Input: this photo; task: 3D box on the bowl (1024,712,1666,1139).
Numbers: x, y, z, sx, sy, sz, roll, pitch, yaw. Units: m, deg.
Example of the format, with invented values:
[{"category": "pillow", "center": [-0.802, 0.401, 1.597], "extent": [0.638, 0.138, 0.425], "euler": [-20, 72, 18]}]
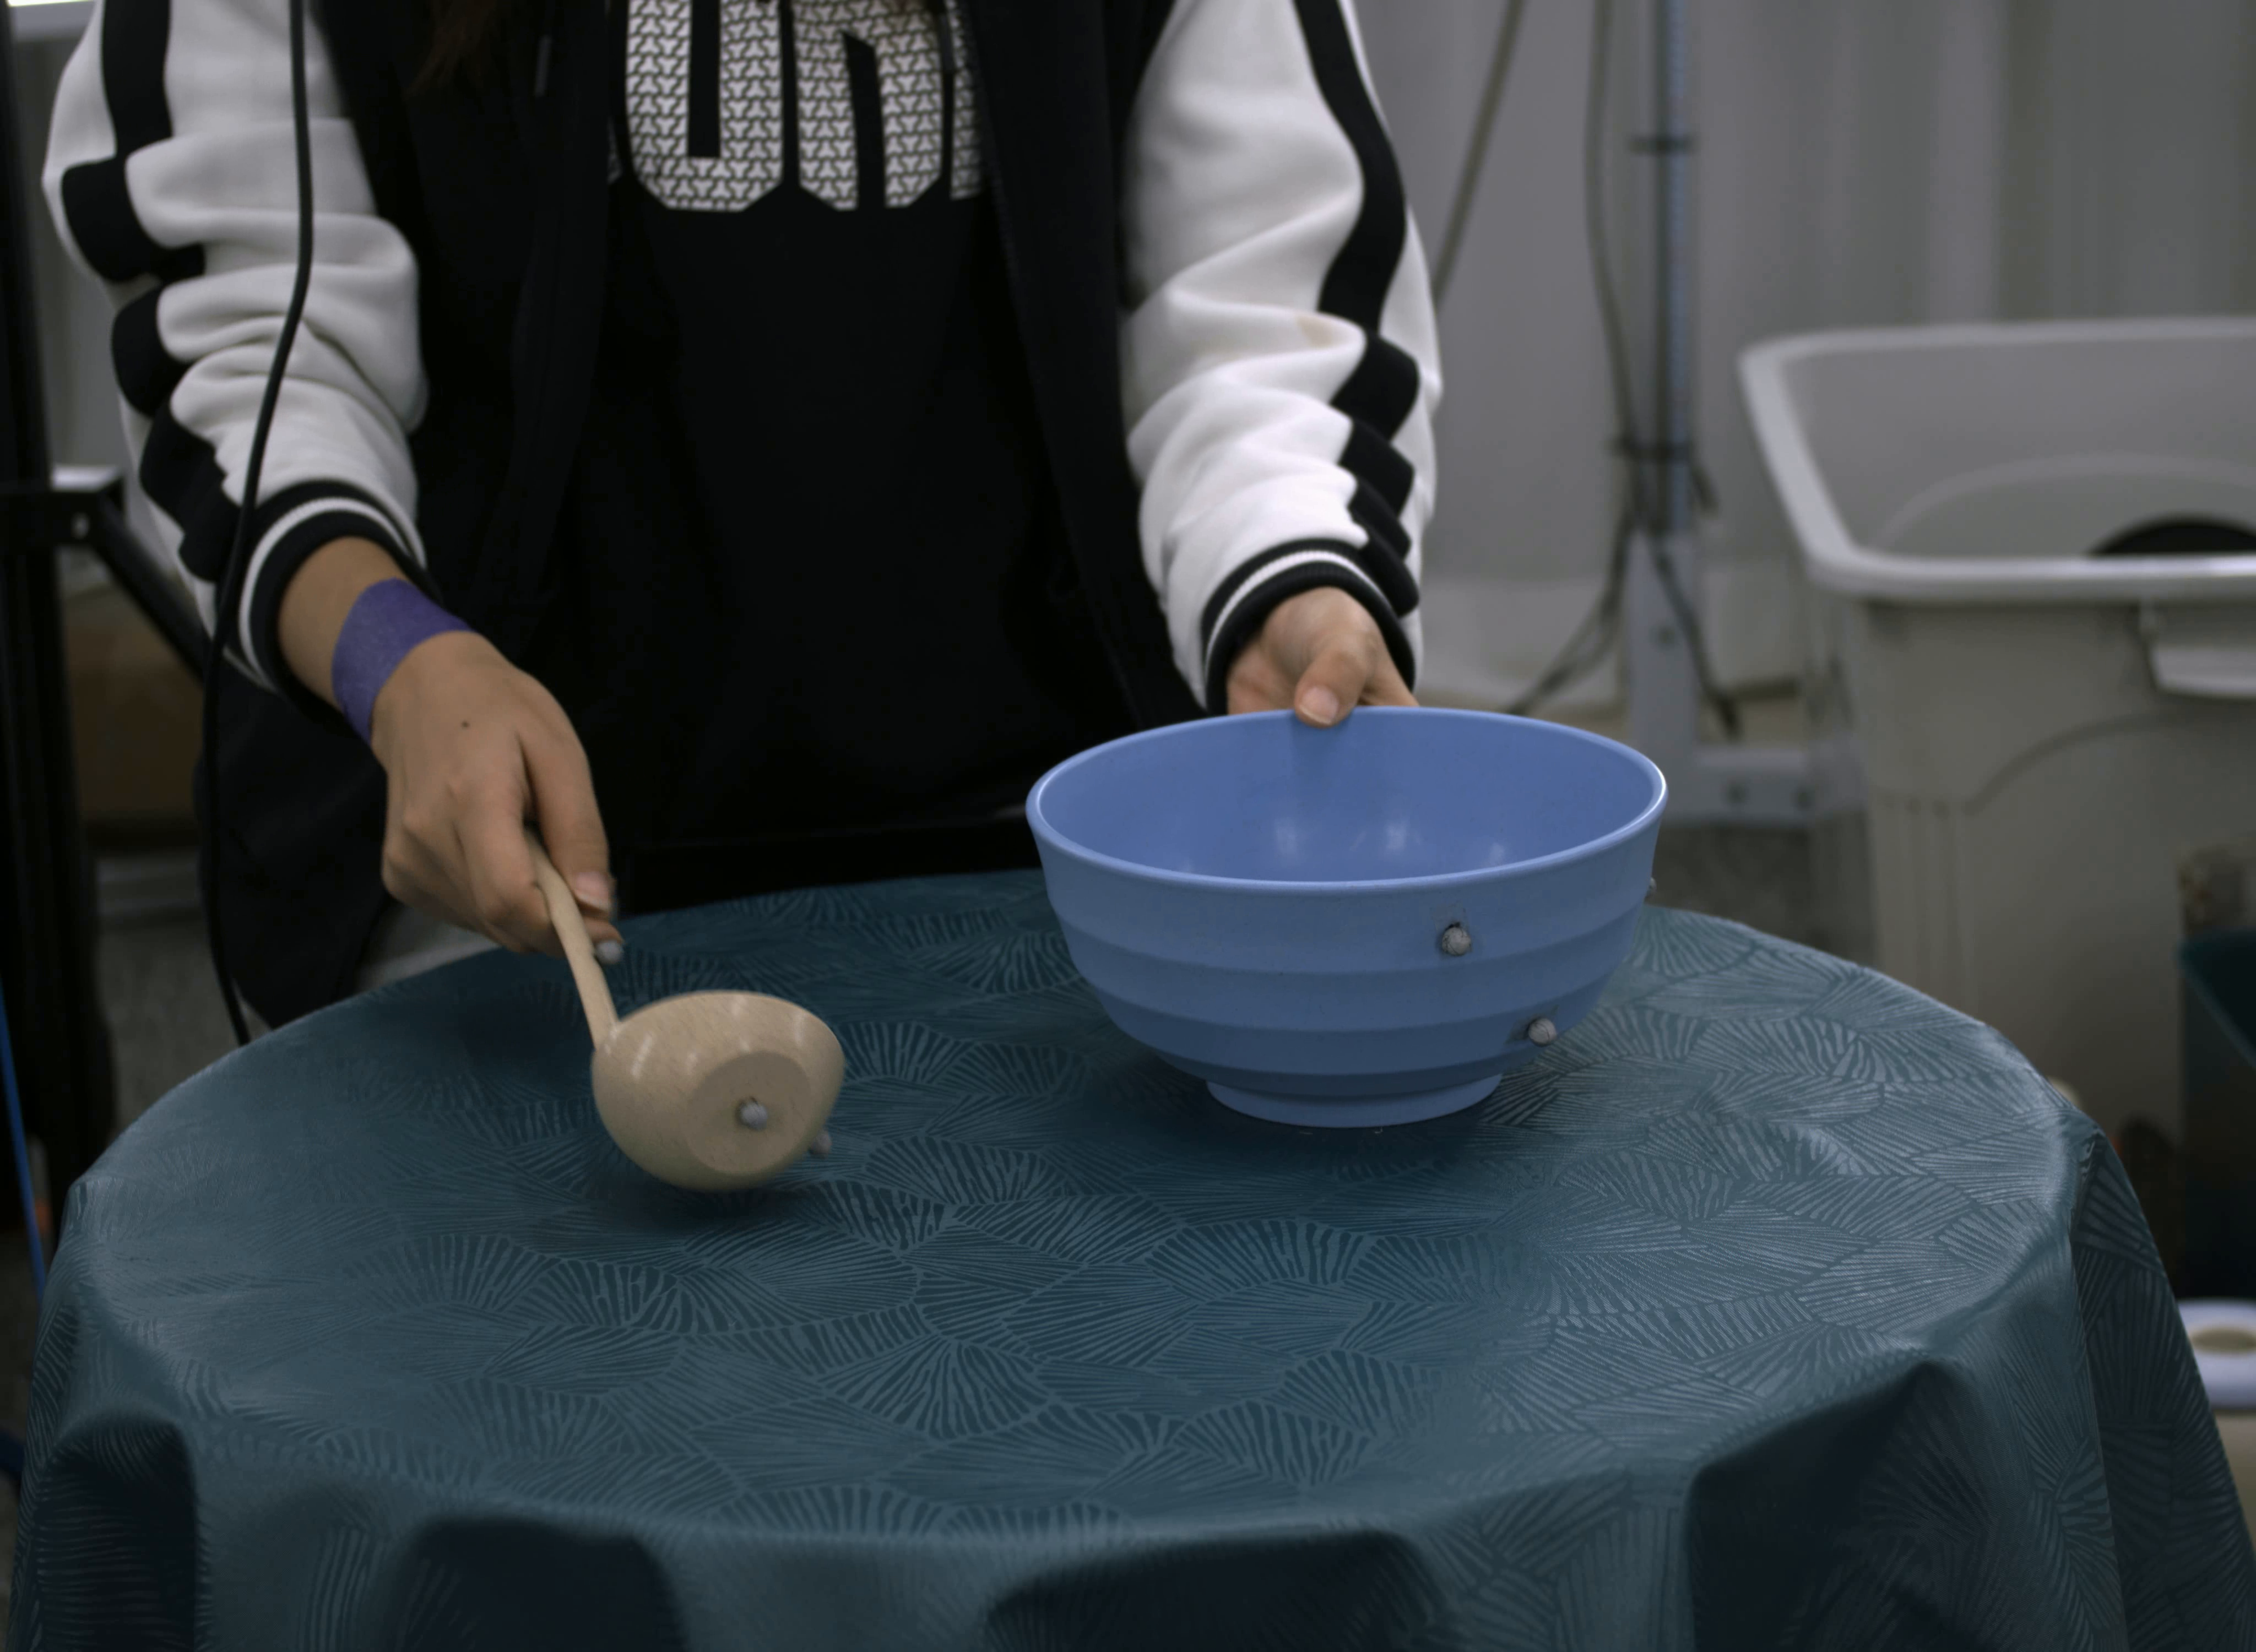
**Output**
[{"category": "bowl", "center": [0.068, 0.037, 1.632], "extent": [0.195, 0.095, 0.197], "euler": [-4, 16, 0]}]

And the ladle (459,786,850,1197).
[{"category": "ladle", "center": [-0.150, 0.025, 1.634], "extent": [0.070, 0.073, 0.259], "euler": [29, 16, -33]}]
